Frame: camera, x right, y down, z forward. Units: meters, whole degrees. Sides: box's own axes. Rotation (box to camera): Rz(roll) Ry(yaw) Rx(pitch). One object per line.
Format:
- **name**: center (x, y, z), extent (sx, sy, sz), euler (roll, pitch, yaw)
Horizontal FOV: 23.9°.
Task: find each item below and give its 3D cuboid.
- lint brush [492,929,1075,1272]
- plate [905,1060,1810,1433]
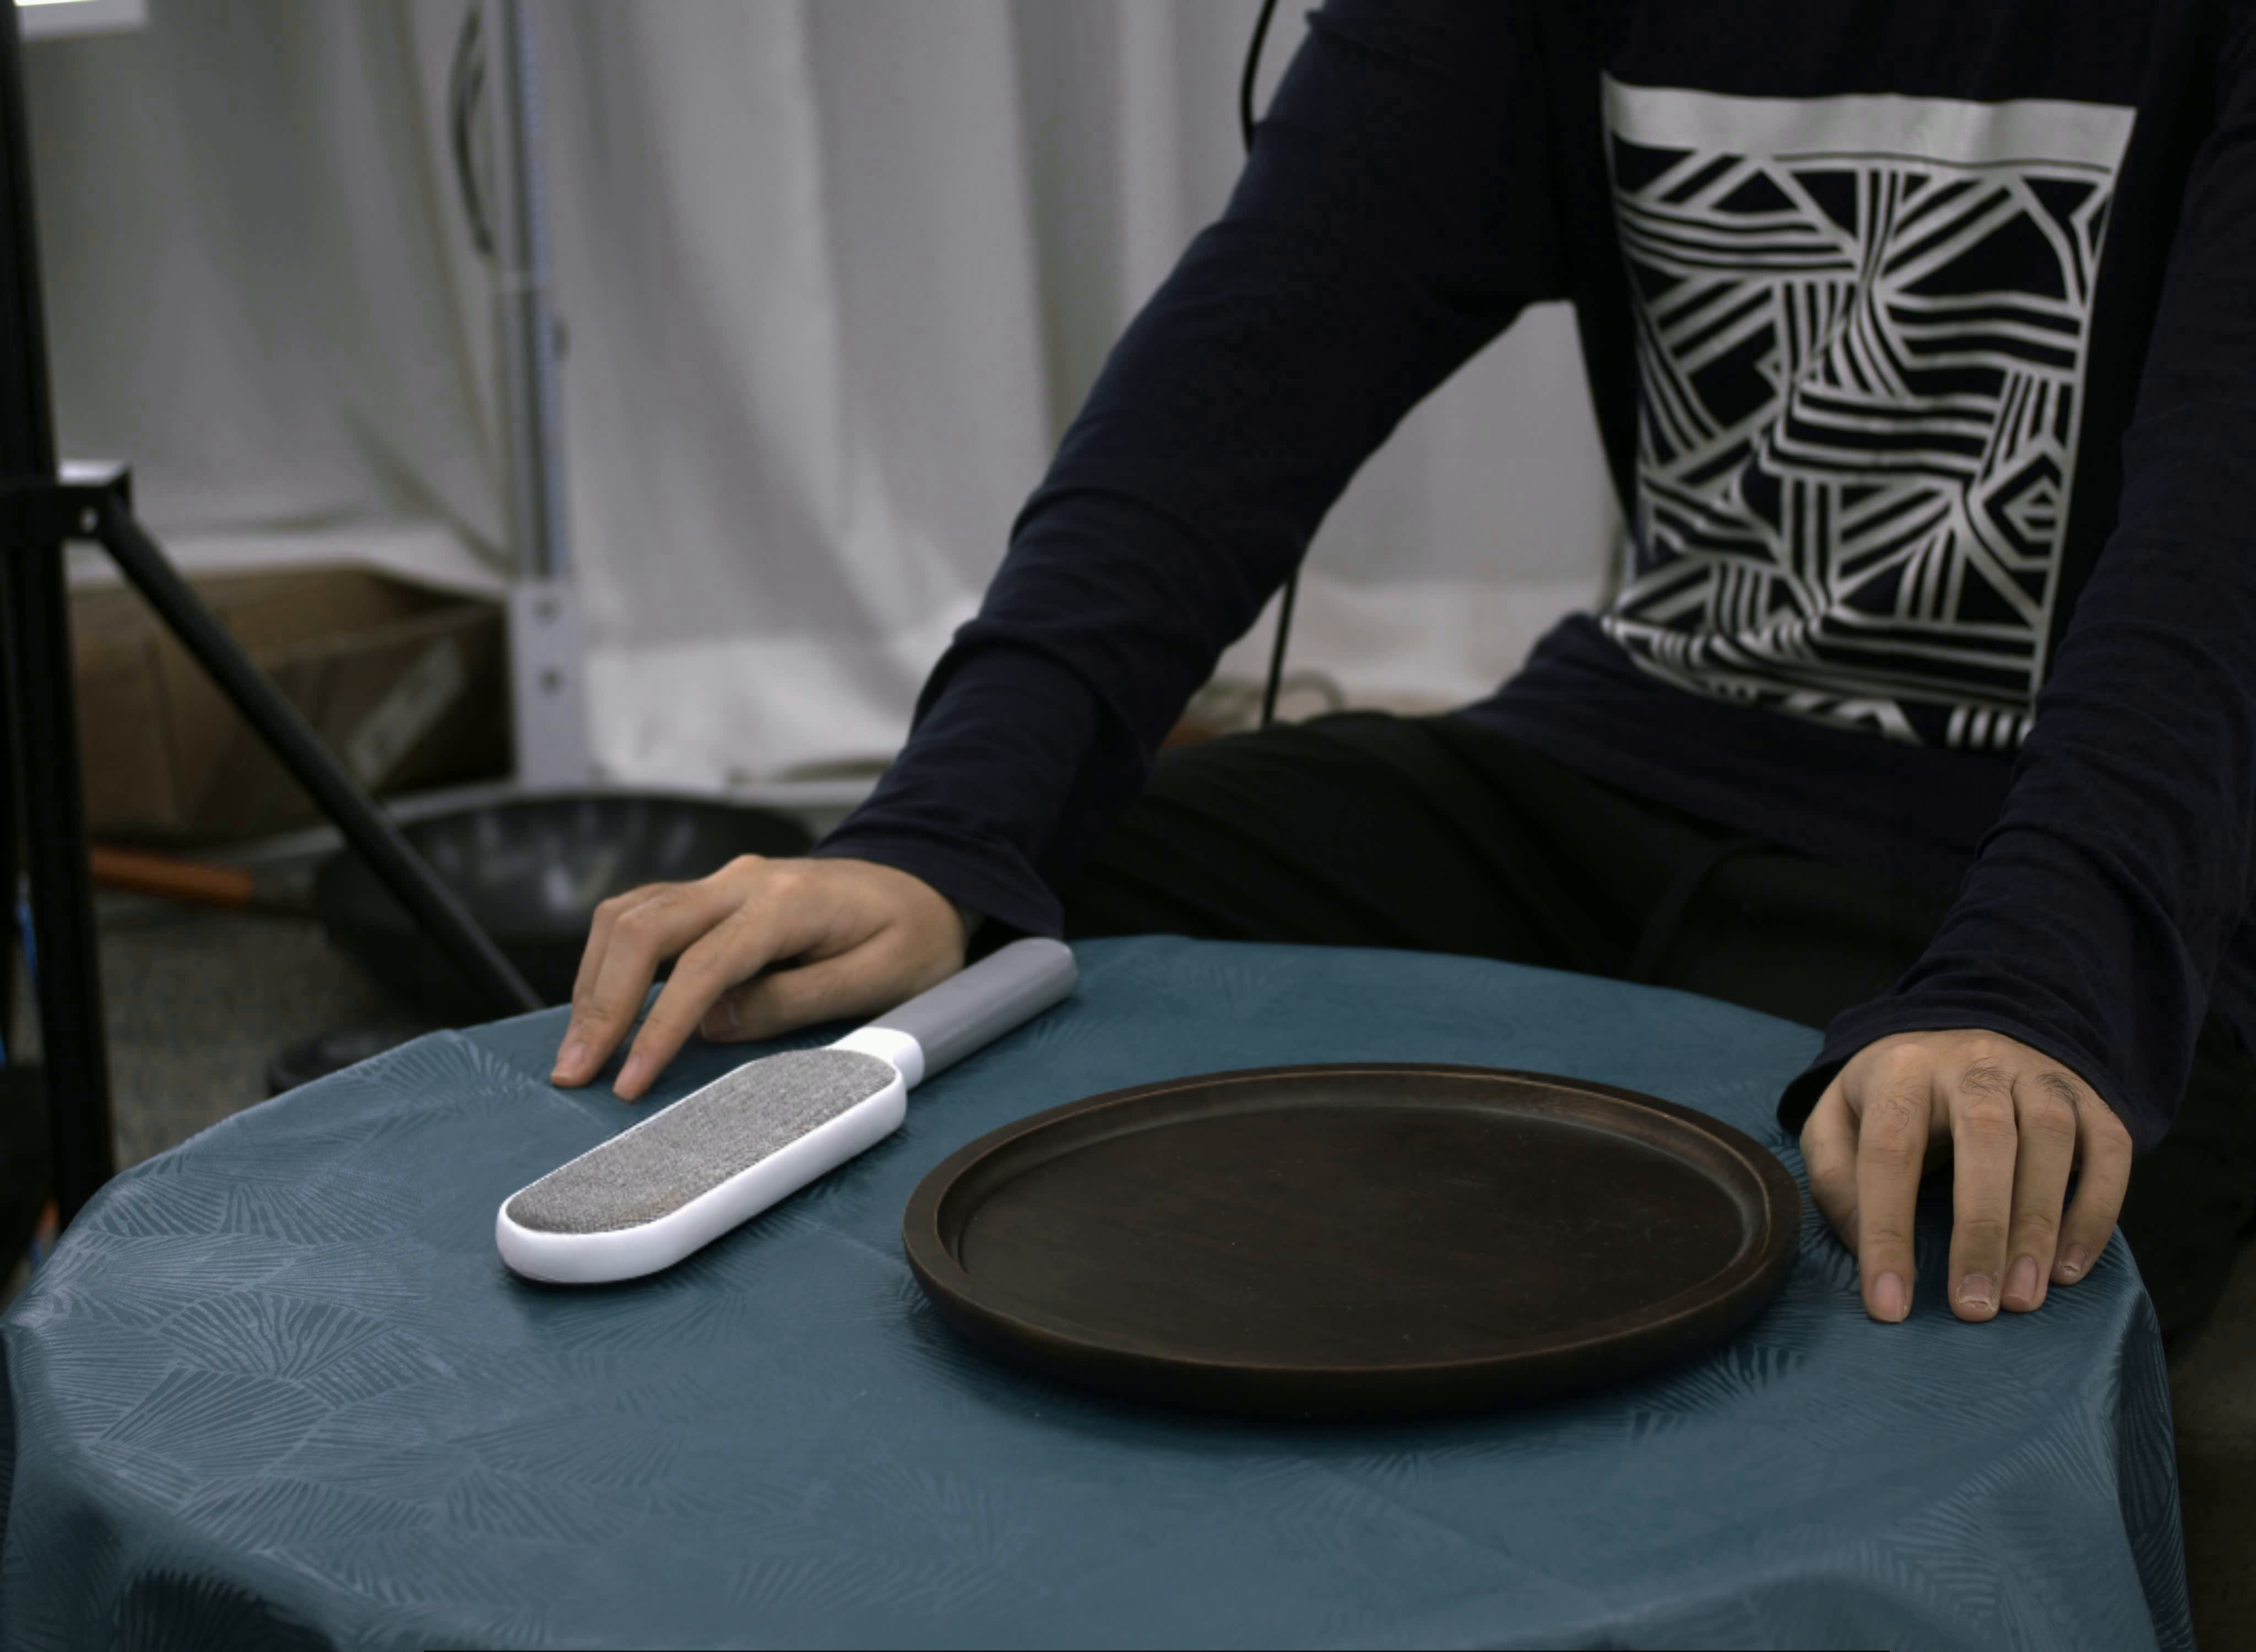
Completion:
- **lint brush**: center (-0.094, 0.080, 1.625), extent (0.061, 0.021, 0.304), euler (0, 15, 29)
- **plate**: center (0.064, 0.114, 1.484), extent (0.253, 0.029, 0.256), euler (-2, 17, -1)
